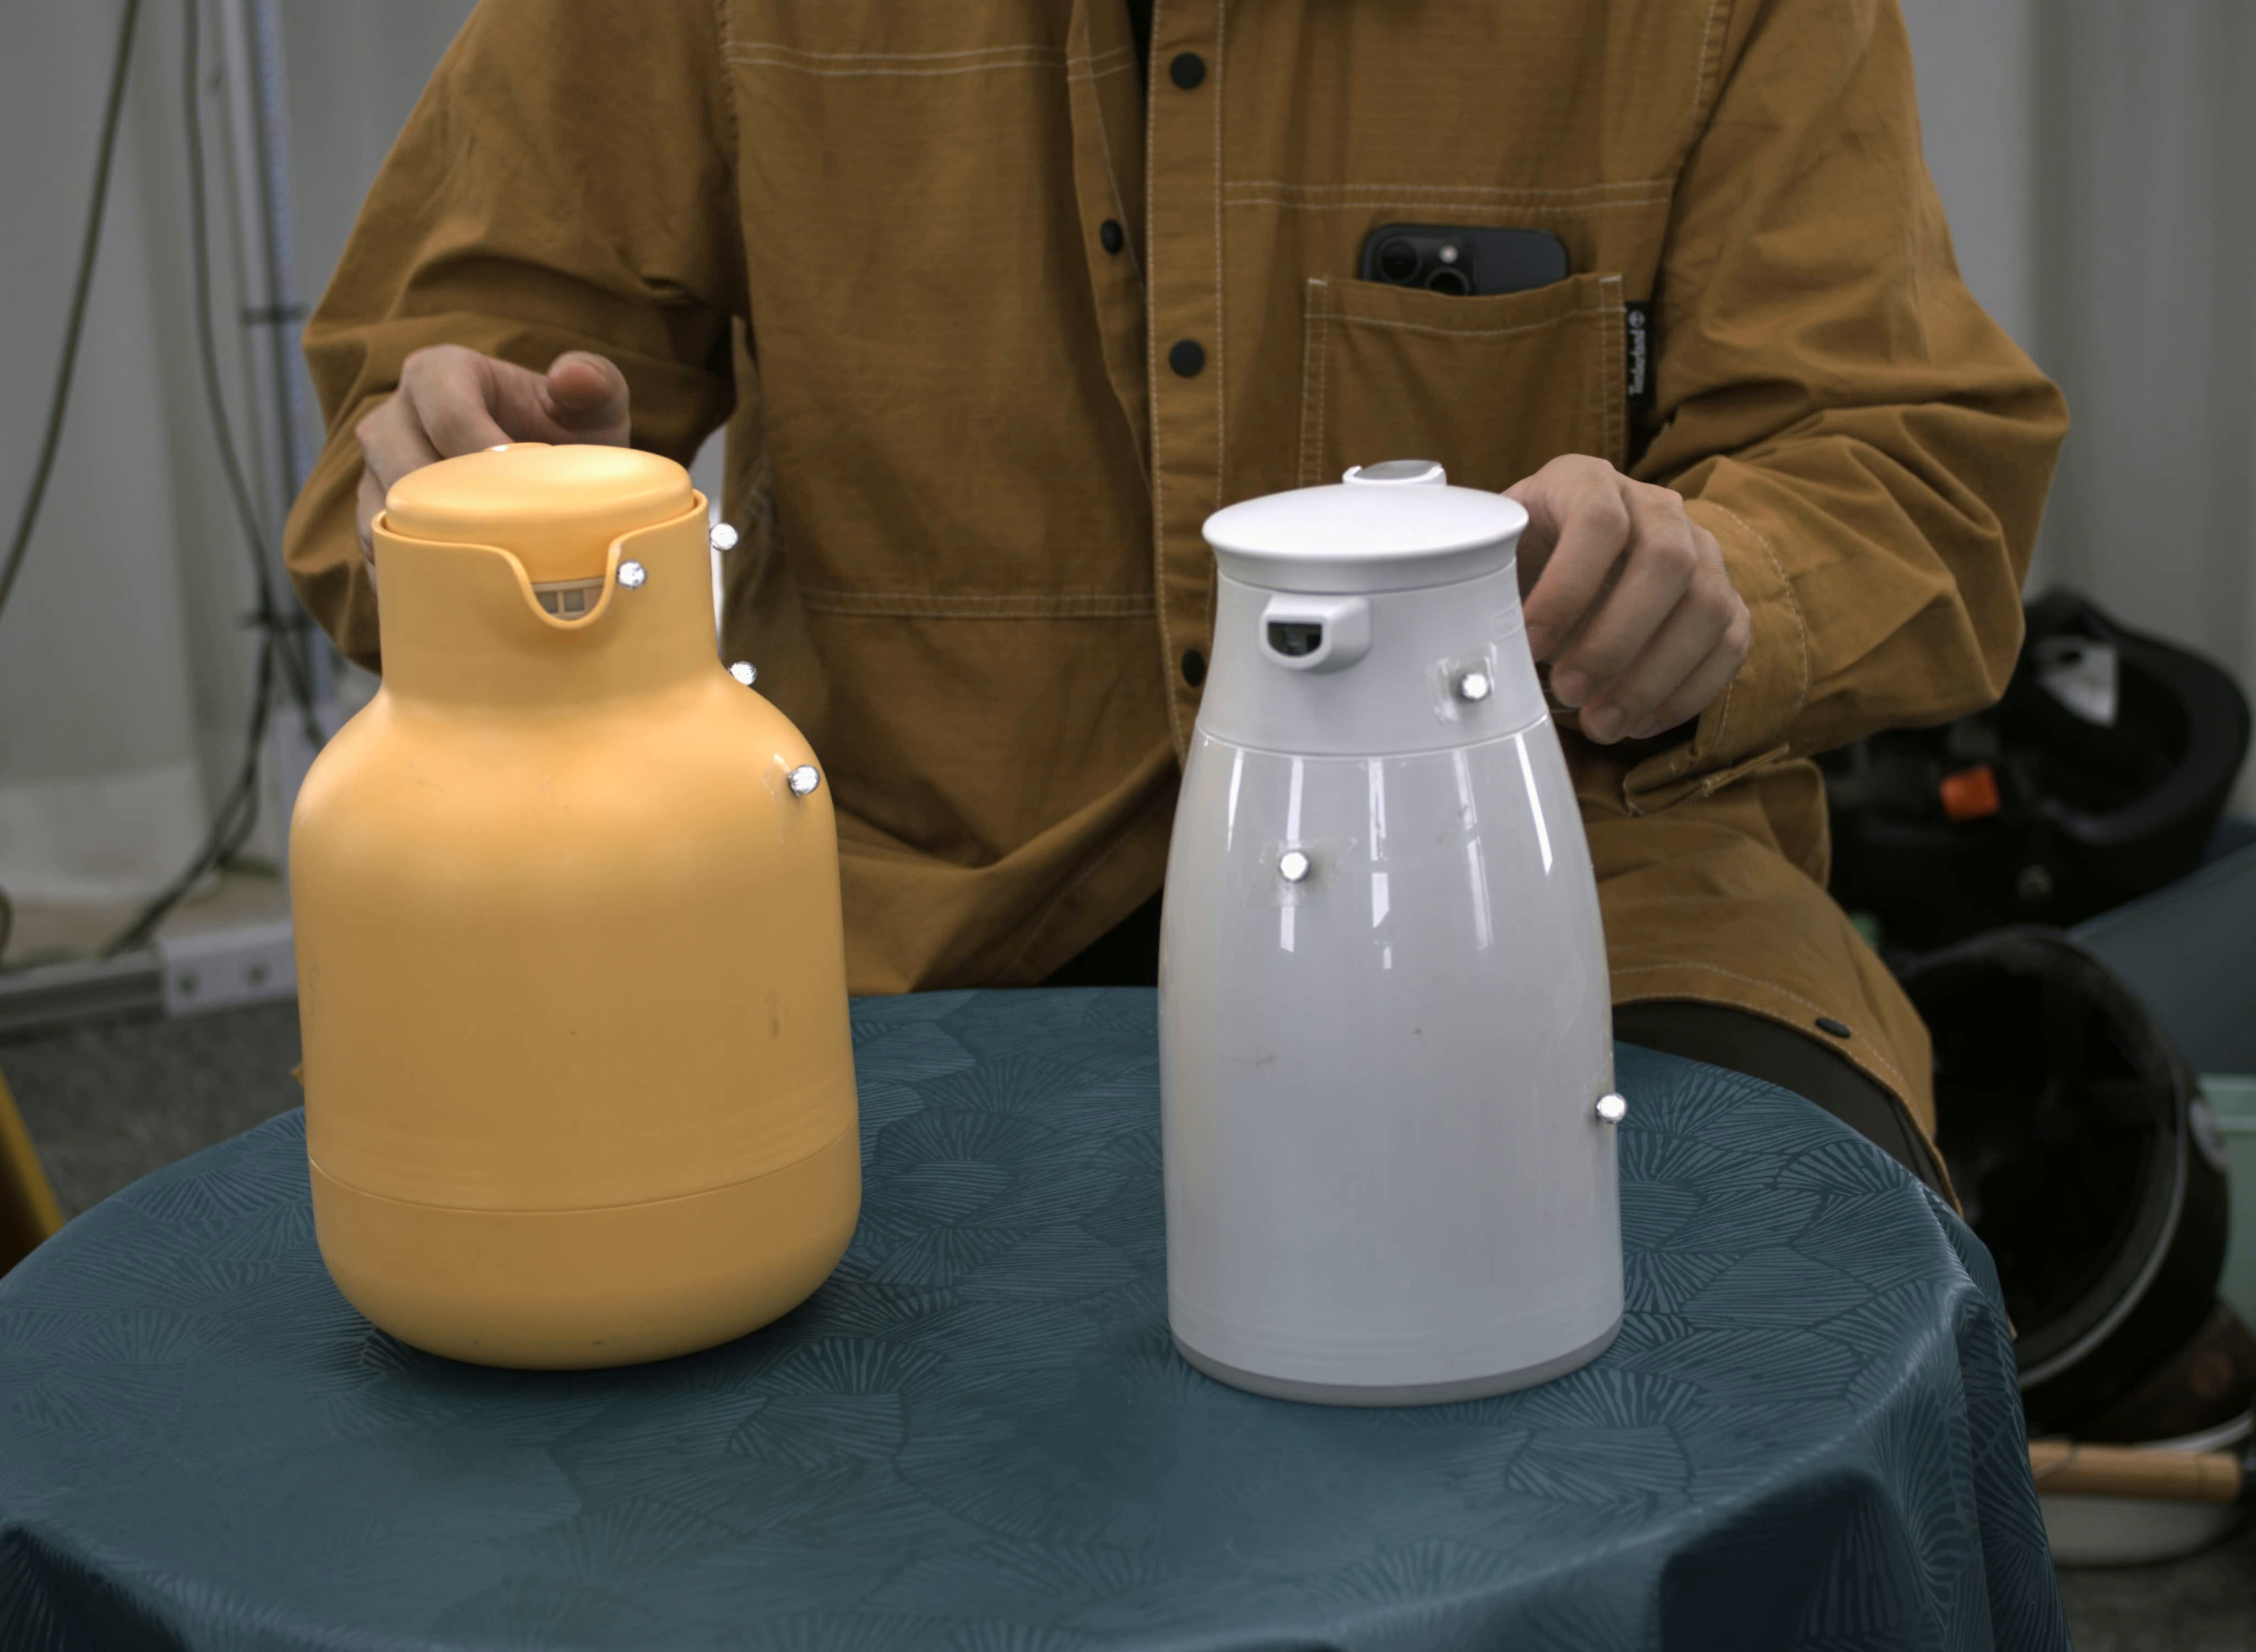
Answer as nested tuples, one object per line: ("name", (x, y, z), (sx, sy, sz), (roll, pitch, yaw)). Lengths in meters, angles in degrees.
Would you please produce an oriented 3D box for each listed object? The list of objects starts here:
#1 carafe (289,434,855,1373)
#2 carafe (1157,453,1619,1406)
("carafe", (-0.166, 0.014, 1.623), (0.163, 0.259, 0.204), (-3, 15, -9))
("carafe", (0.077, 0.020, 1.572), (0.132, 0.248, 0.168), (3, 15, 20))
